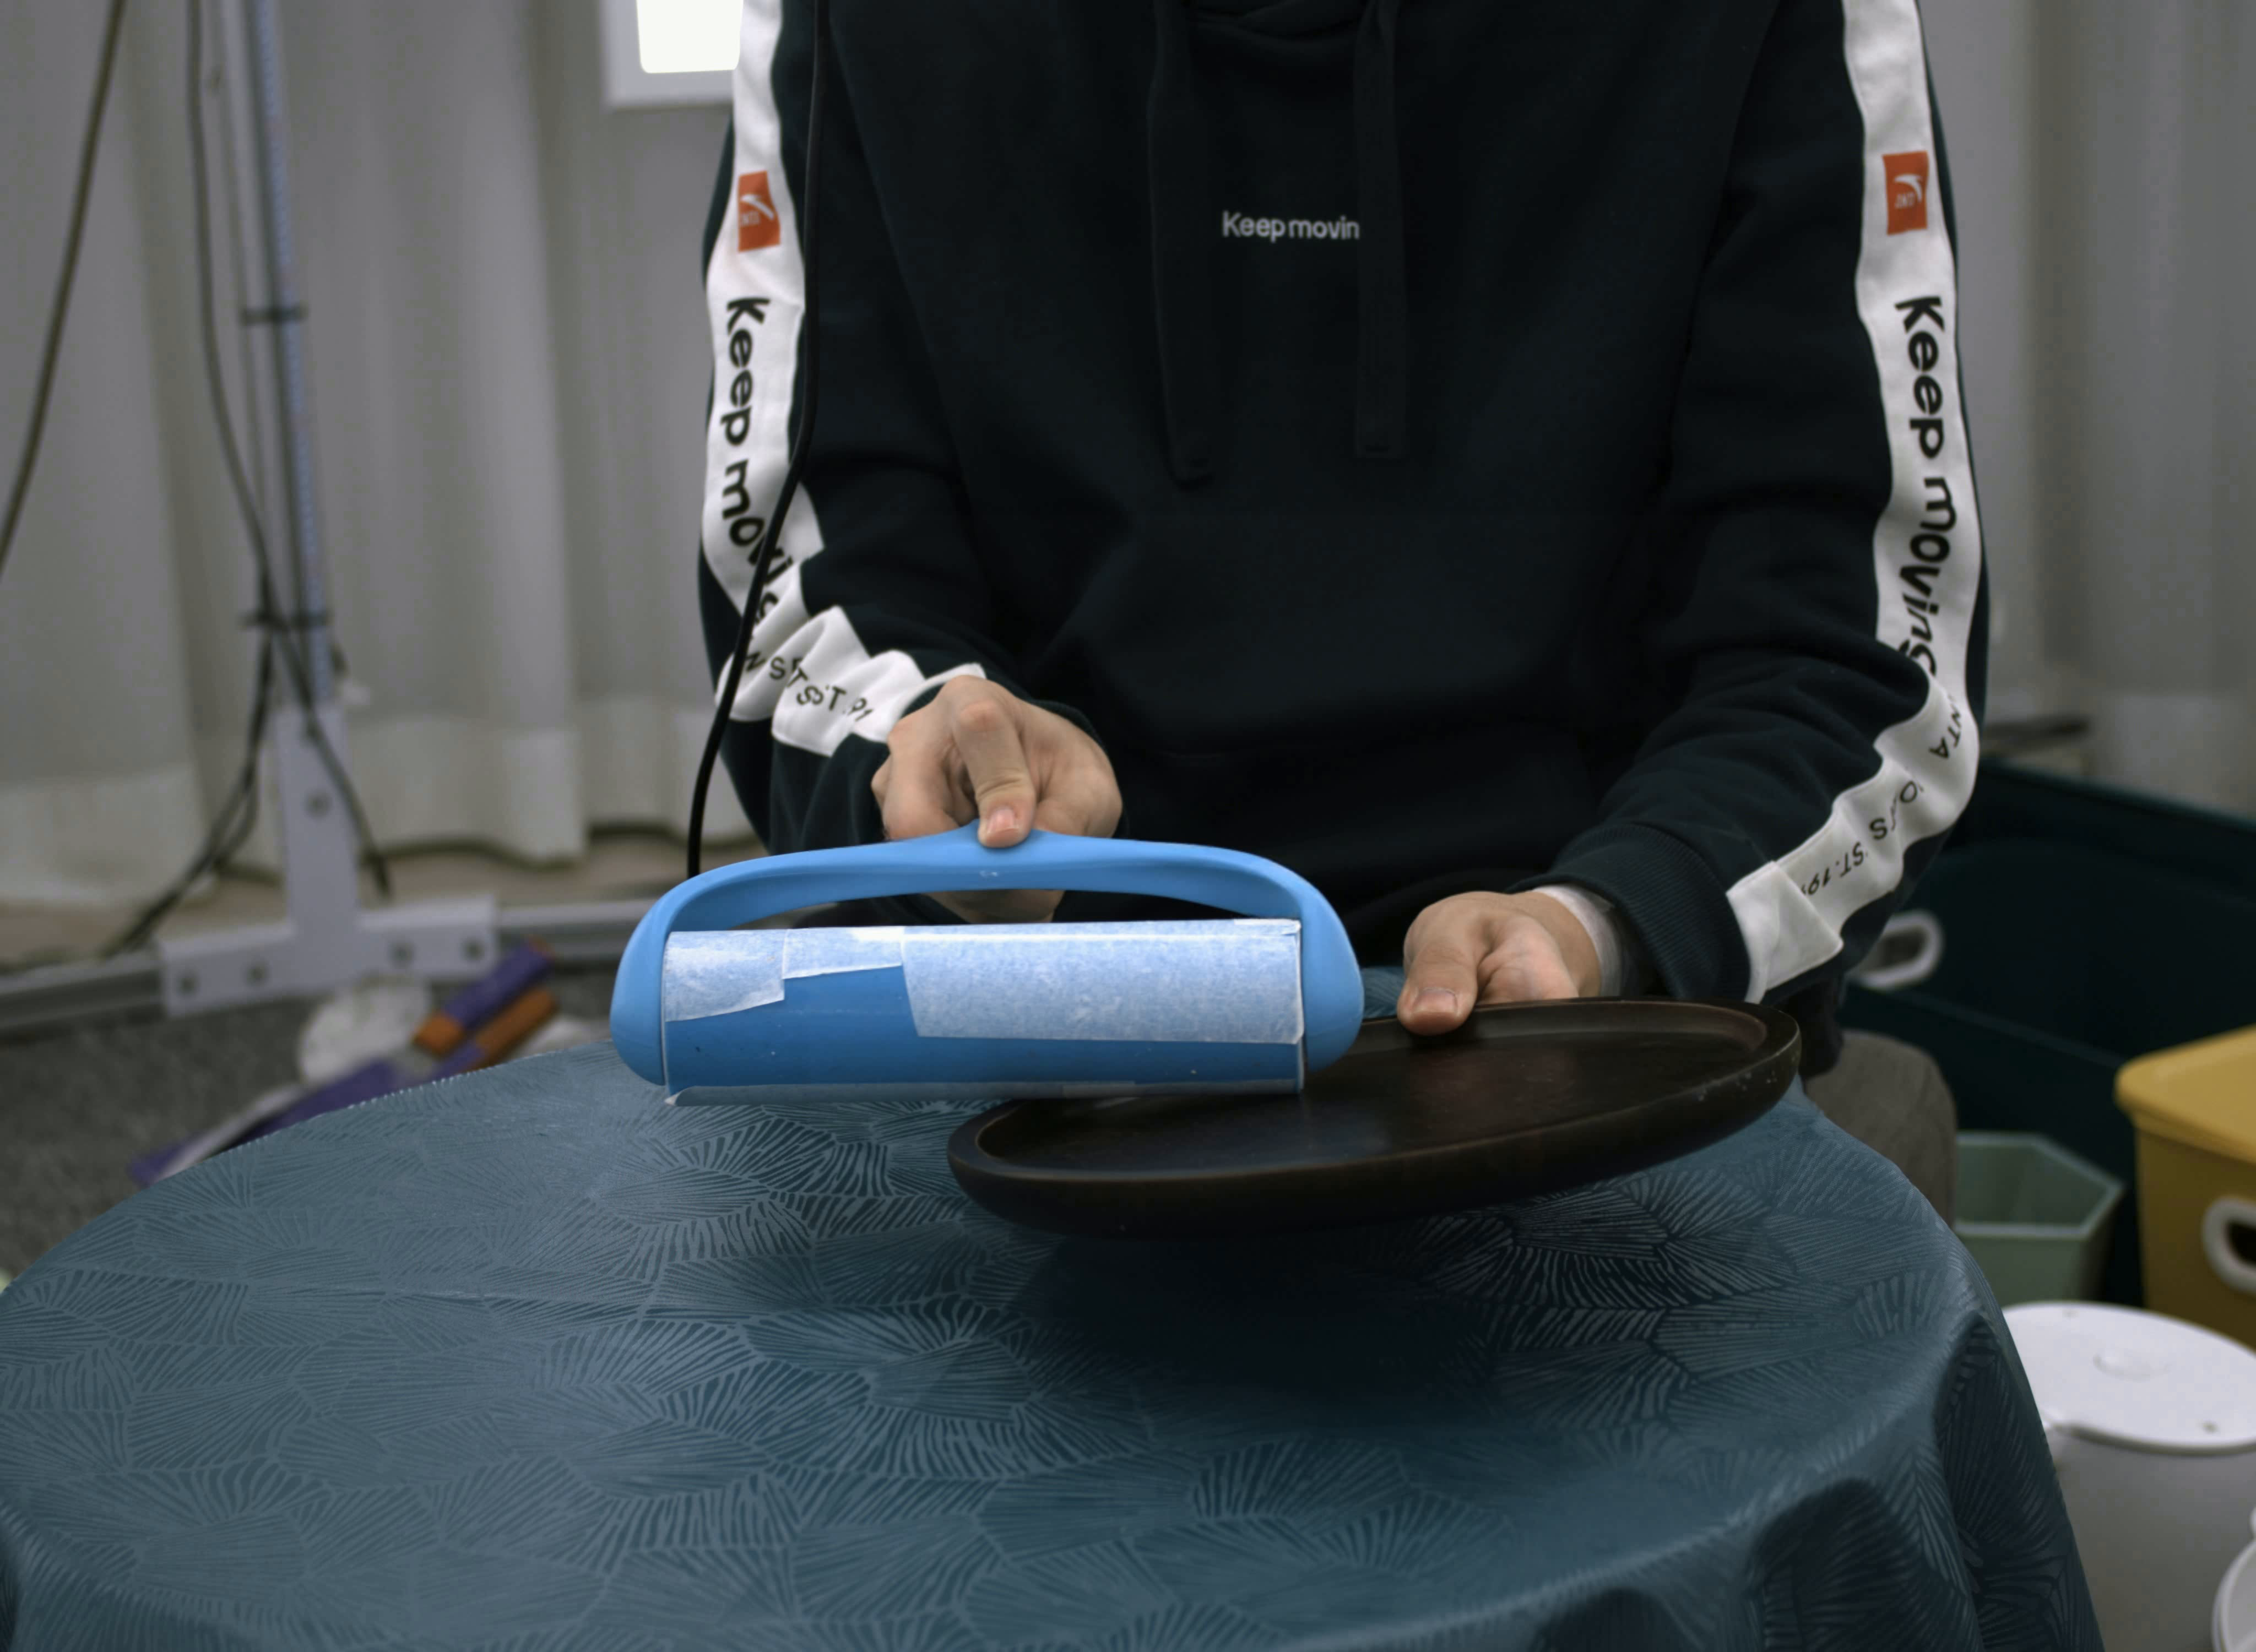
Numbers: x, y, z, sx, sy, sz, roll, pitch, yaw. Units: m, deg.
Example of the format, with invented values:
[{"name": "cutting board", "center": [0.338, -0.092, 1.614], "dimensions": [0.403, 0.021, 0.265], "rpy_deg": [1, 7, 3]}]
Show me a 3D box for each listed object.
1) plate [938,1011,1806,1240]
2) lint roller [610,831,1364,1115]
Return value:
[{"name": "plate", "center": [0.072, 0.085, 1.596], "dimensions": [0.254, 0.029, 0.255], "rpy_deg": [-7, 6, 0]}, {"name": "lint roller", "center": [-0.044, 0.033, 1.710], "dimensions": [0.228, 0.067, 0.182], "rpy_deg": [-4, 23, 0]}]
